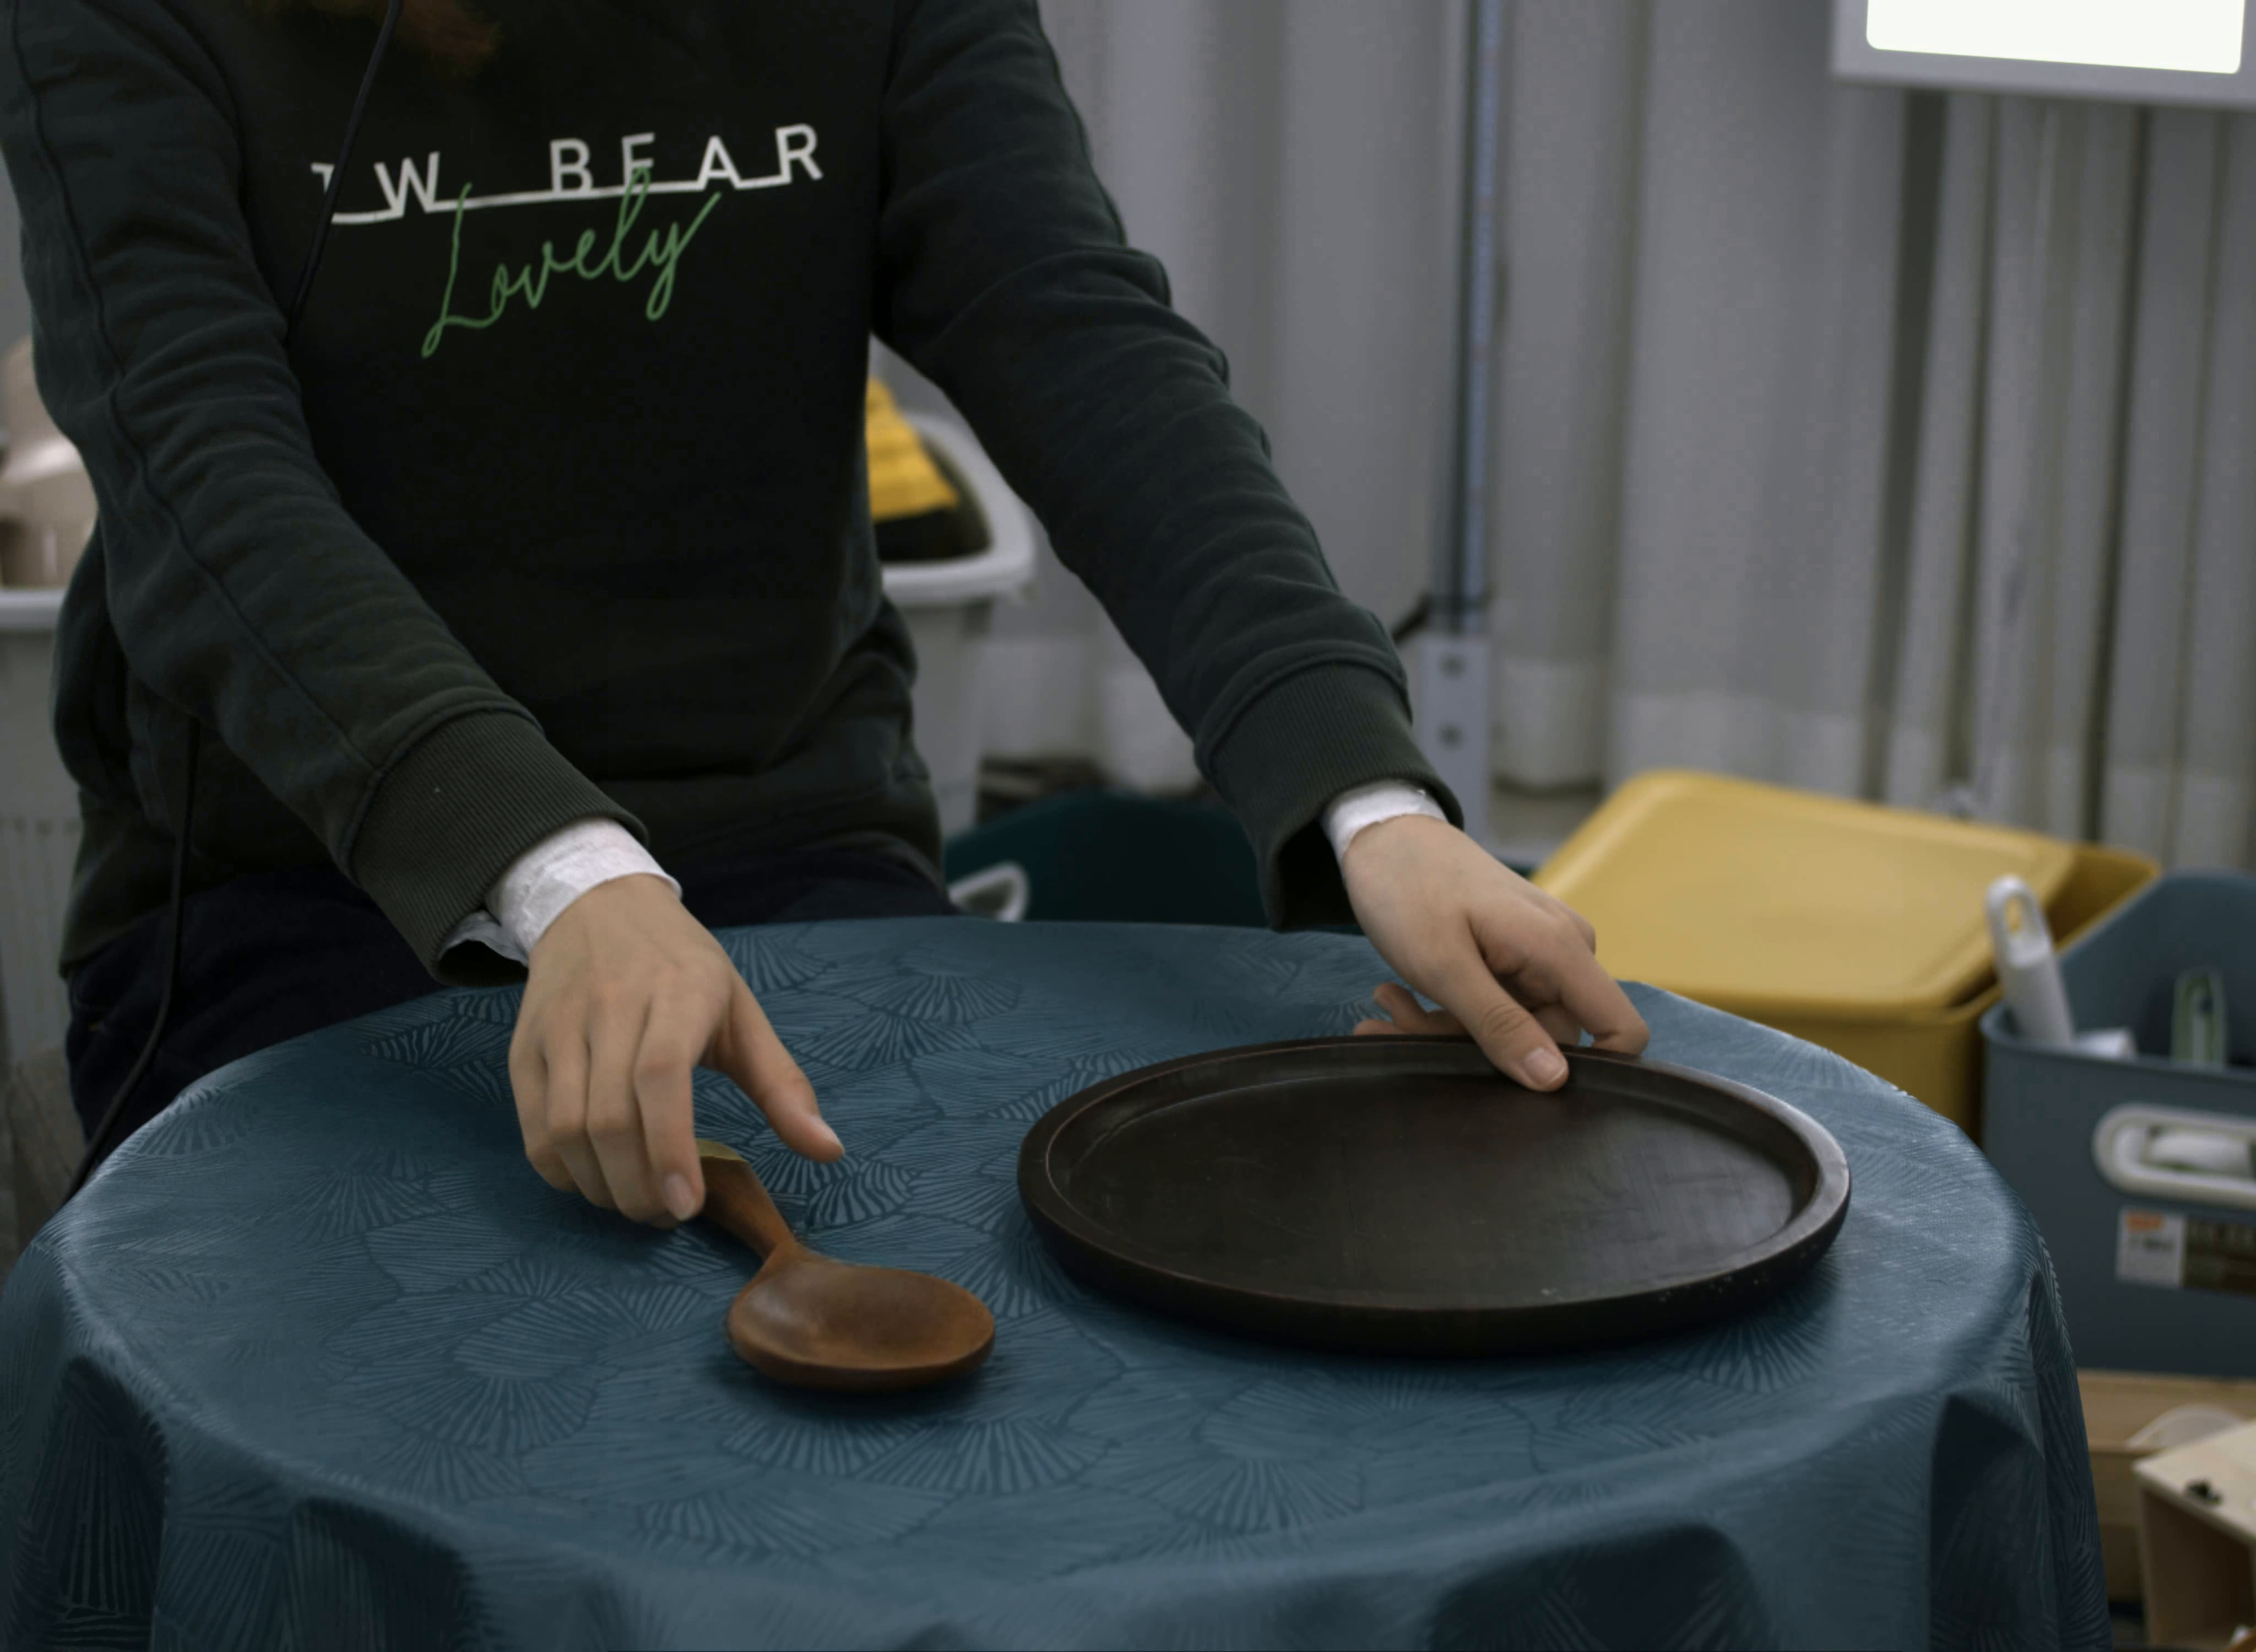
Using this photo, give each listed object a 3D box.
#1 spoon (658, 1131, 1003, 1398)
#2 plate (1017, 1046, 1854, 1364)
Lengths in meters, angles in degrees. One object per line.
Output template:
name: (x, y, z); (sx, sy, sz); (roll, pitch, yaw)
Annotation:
spoon: (-0.097, 0.128, 1.536); (0.076, 0.017, 0.213); (-6, 17, -21)
plate: (0.092, 0.111, 1.595); (0.254, 0.029, 0.253); (2, 16, 0)
